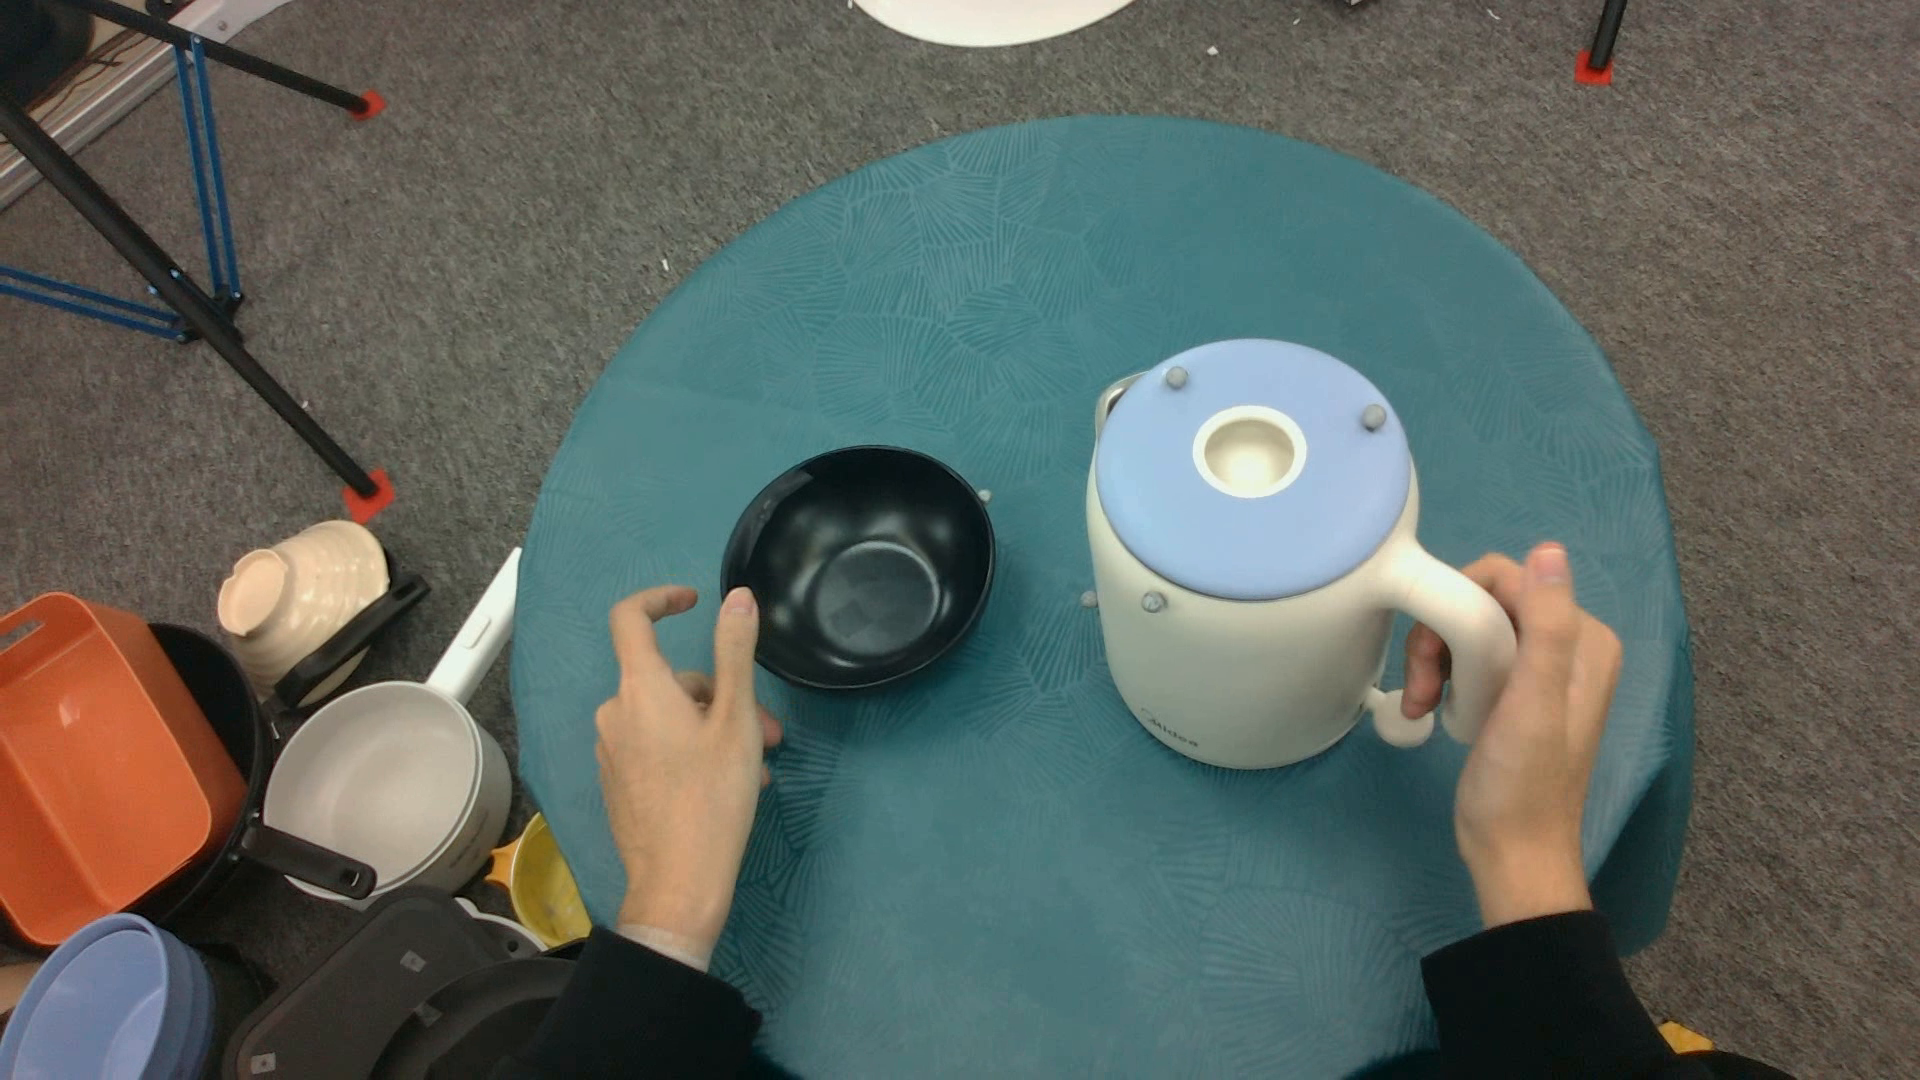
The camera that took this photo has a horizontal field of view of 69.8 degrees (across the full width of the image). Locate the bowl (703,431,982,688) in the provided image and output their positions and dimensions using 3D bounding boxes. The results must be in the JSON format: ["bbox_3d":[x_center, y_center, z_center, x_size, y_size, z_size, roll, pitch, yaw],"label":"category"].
[{"bbox_3d":[-0.056,0.016,0.694,0.140,0.049,0.140,-3,61,6],"label":"bowl"}]

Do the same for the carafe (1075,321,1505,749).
[{"bbox_3d":[0.139,0.015,0.592,0.191,0.182,0.132,30,70,21],"label":"carafe"}]
